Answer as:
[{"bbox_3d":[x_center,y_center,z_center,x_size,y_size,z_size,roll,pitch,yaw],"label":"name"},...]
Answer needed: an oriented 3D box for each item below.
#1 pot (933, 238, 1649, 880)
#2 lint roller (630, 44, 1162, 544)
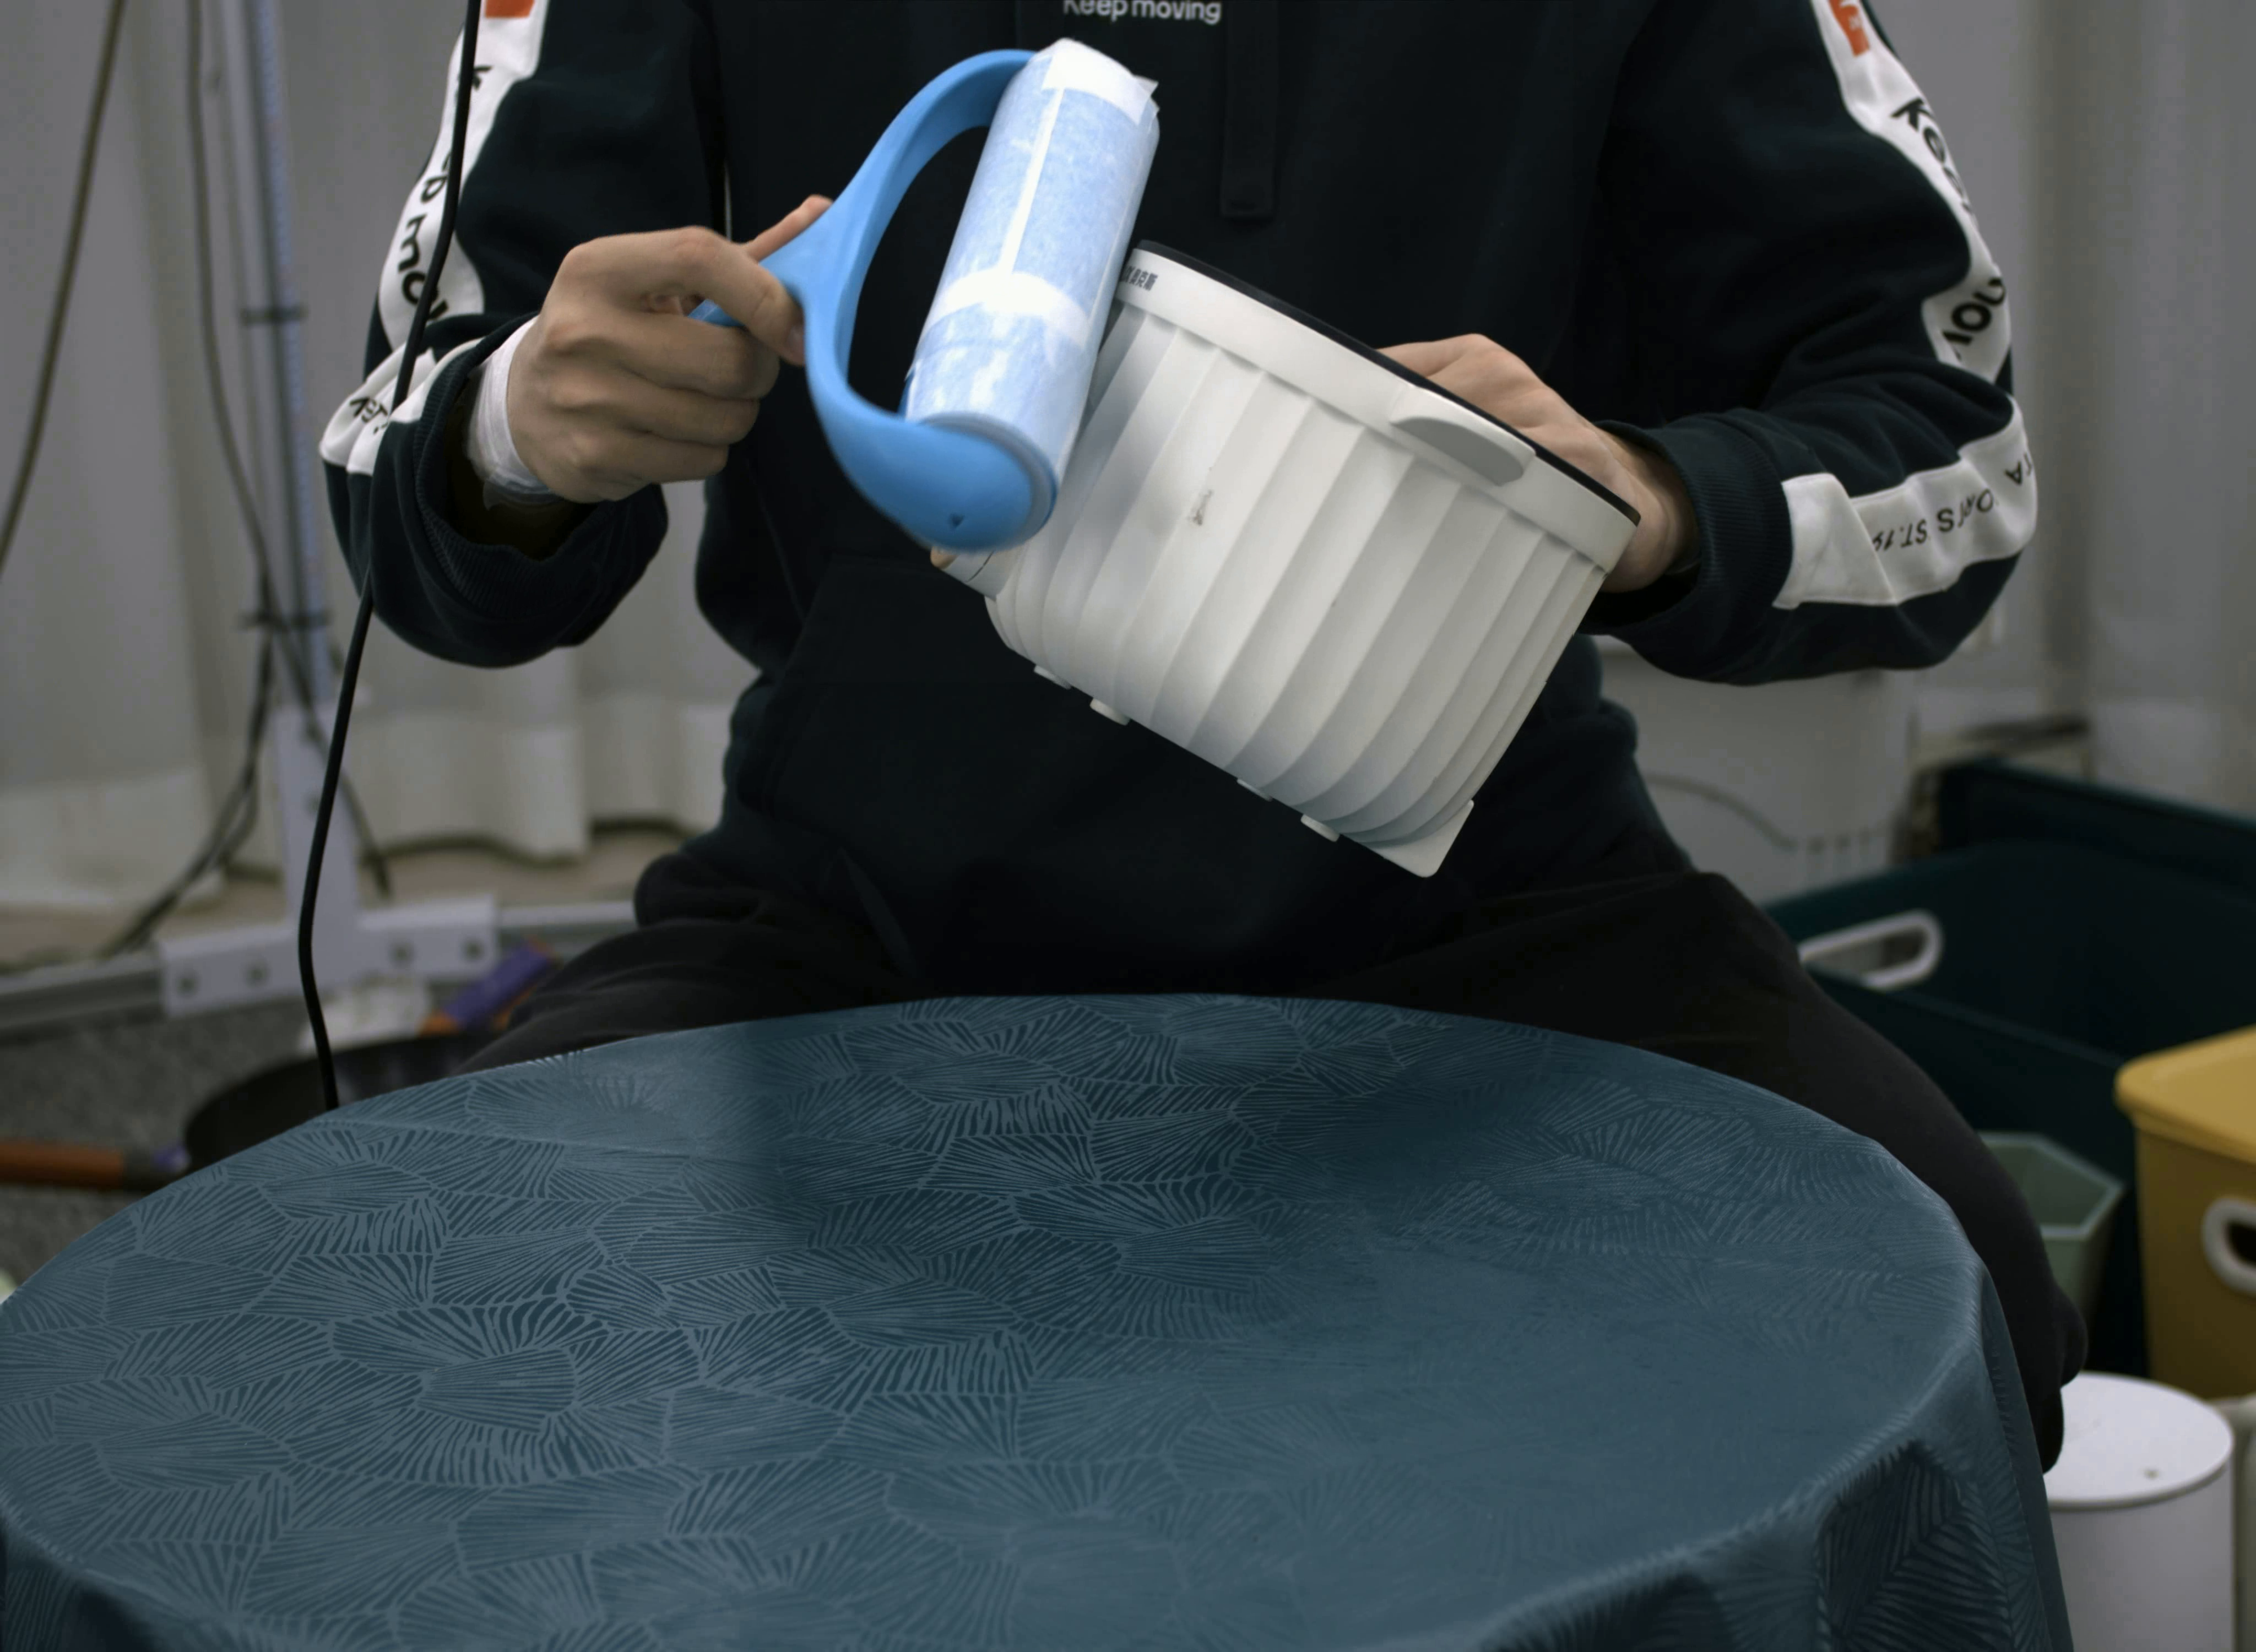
[{"bbox_3d":[0.046,-0.084,1.724,0.189,0.143,0.242,32,-1,-17],"label":"pot"},{"bbox_3d":[-0.084,-0.156,1.712,0.180,0.067,0.232,-12,38,16],"label":"lint roller"}]
